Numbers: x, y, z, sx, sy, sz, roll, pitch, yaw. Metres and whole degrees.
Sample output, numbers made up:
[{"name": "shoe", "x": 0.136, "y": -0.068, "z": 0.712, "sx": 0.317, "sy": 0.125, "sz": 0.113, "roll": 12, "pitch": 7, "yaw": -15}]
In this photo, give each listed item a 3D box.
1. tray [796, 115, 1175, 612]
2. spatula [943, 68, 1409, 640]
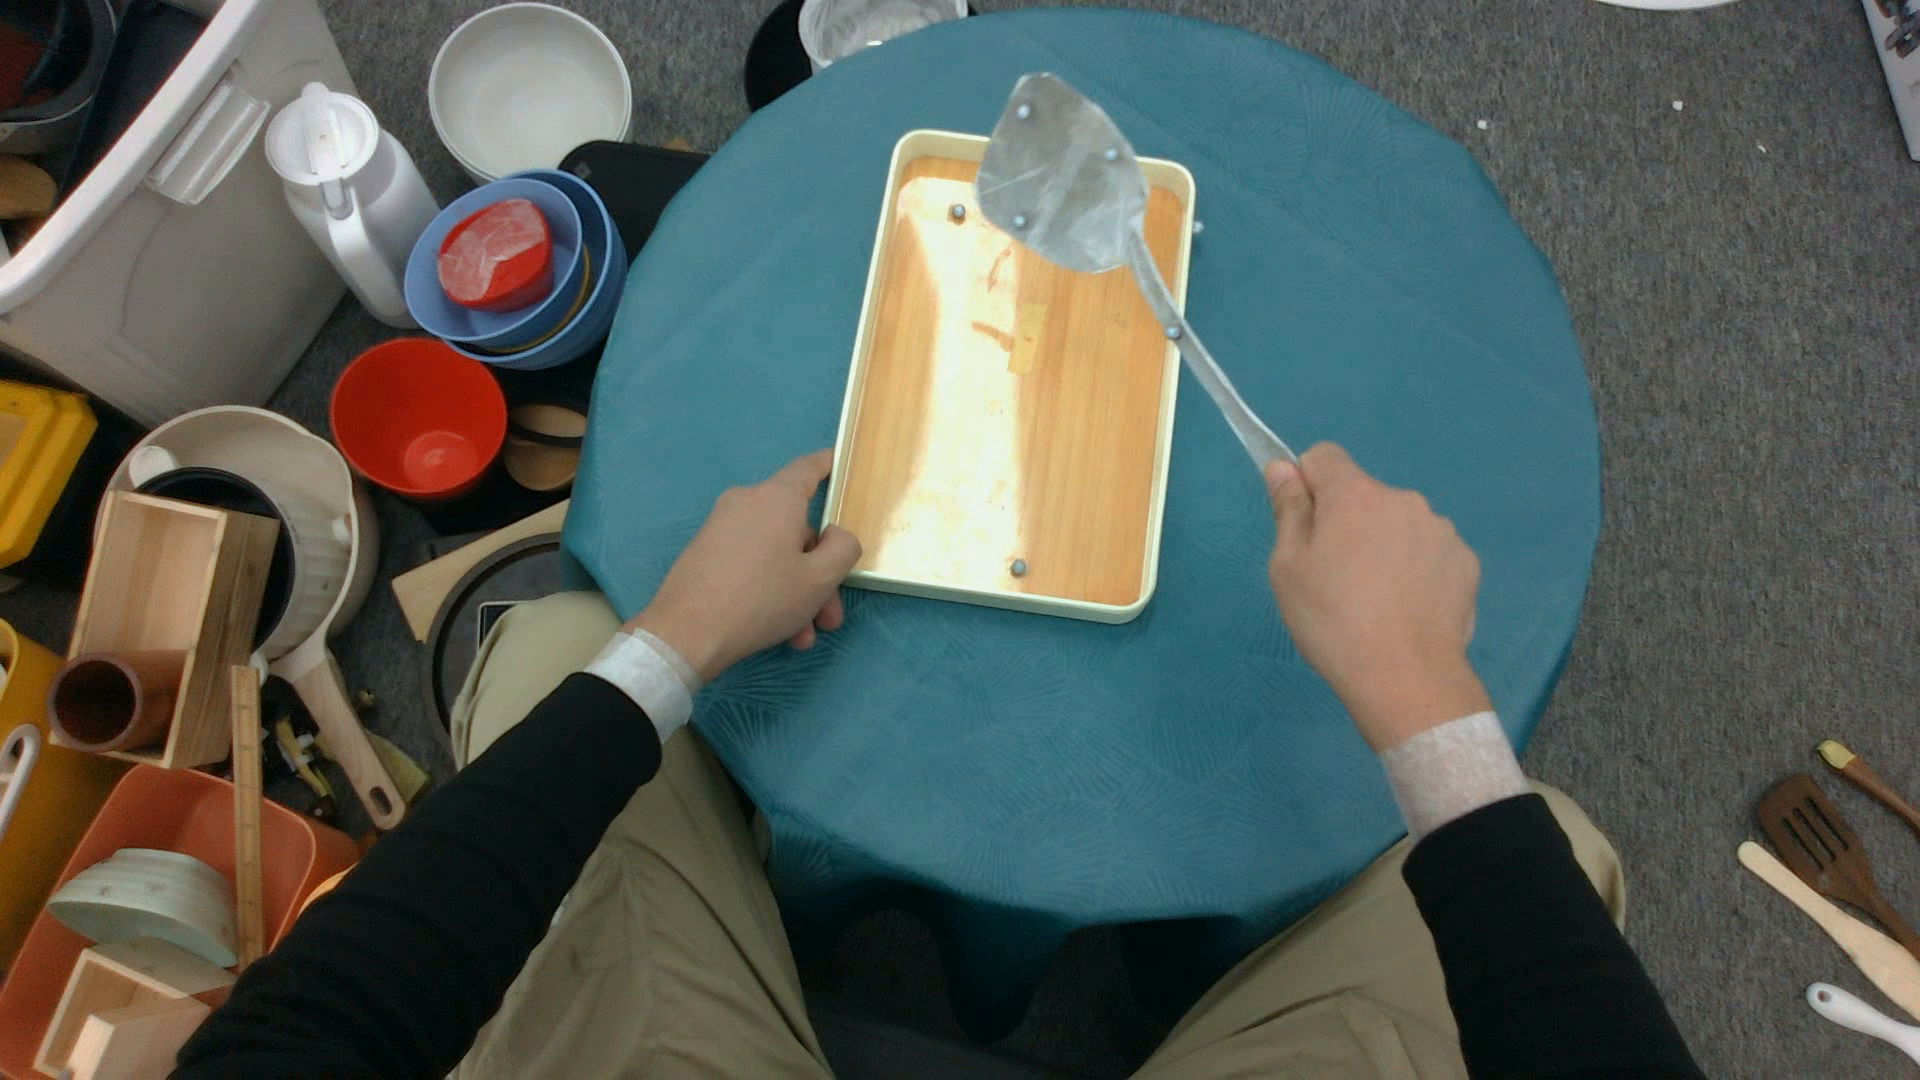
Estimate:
[{"name": "tray", "x": 0.021, "y": -0.112, "z": 0.818, "sx": 0.191, "sy": 0.027, "sz": 0.301, "roll": 8, "pitch": 69, "yaw": 1}, {"name": "spatula", "x": 0.109, "y": -0.095, "z": 0.707, "sx": 0.045, "sy": 0.098, "sz": 0.365, "roll": -17, "pitch": 64, "yaw": -35}]
